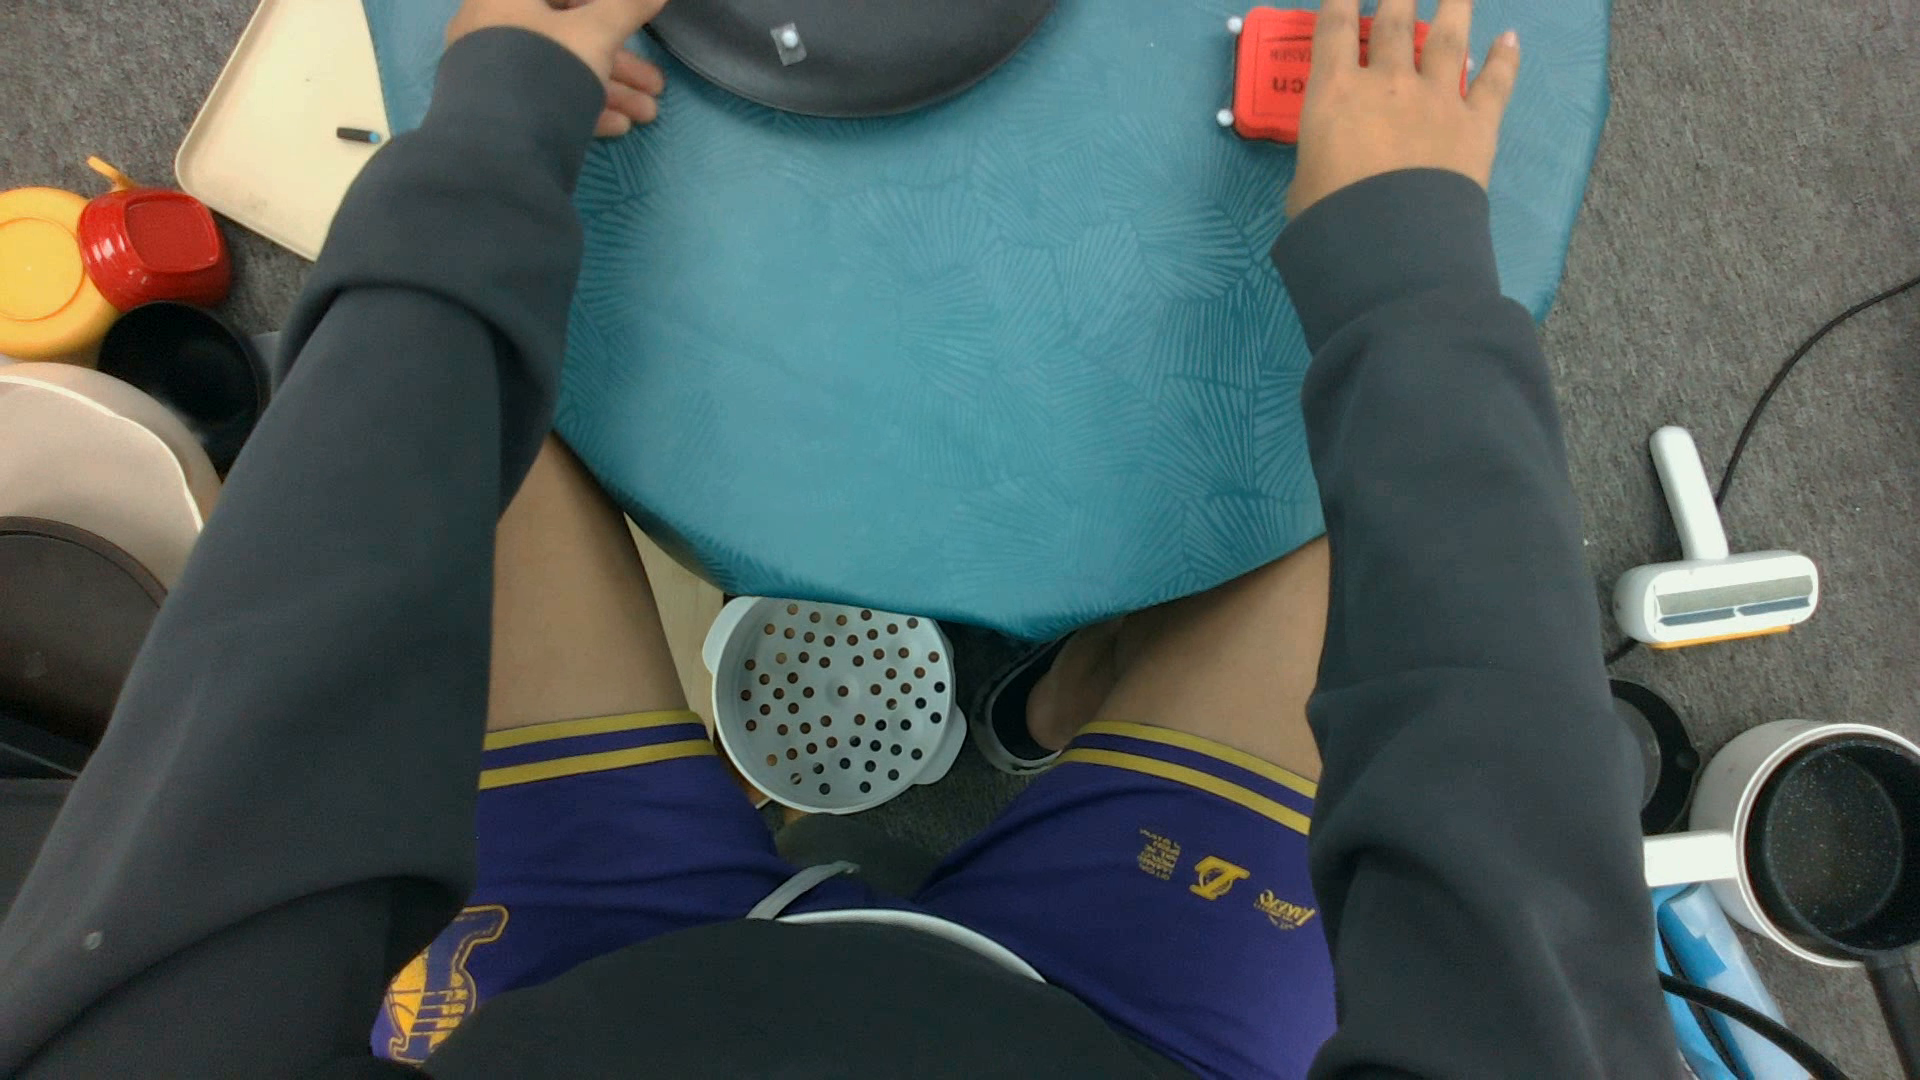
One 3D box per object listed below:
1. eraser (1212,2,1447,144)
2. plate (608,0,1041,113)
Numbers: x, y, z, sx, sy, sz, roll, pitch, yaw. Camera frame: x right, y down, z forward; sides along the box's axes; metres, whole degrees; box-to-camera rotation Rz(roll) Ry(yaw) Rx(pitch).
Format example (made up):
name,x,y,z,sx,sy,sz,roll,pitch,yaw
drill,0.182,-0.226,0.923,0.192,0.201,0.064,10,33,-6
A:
name,x,y,z,sx,sy,sz,roll,pitch,yaw
eraser,0.178,-0.224,0.664,0.108,0.023,0.059,3,88,-3
plate,-0.064,-0.319,0.650,0.244,0.023,0.244,0,89,-5
